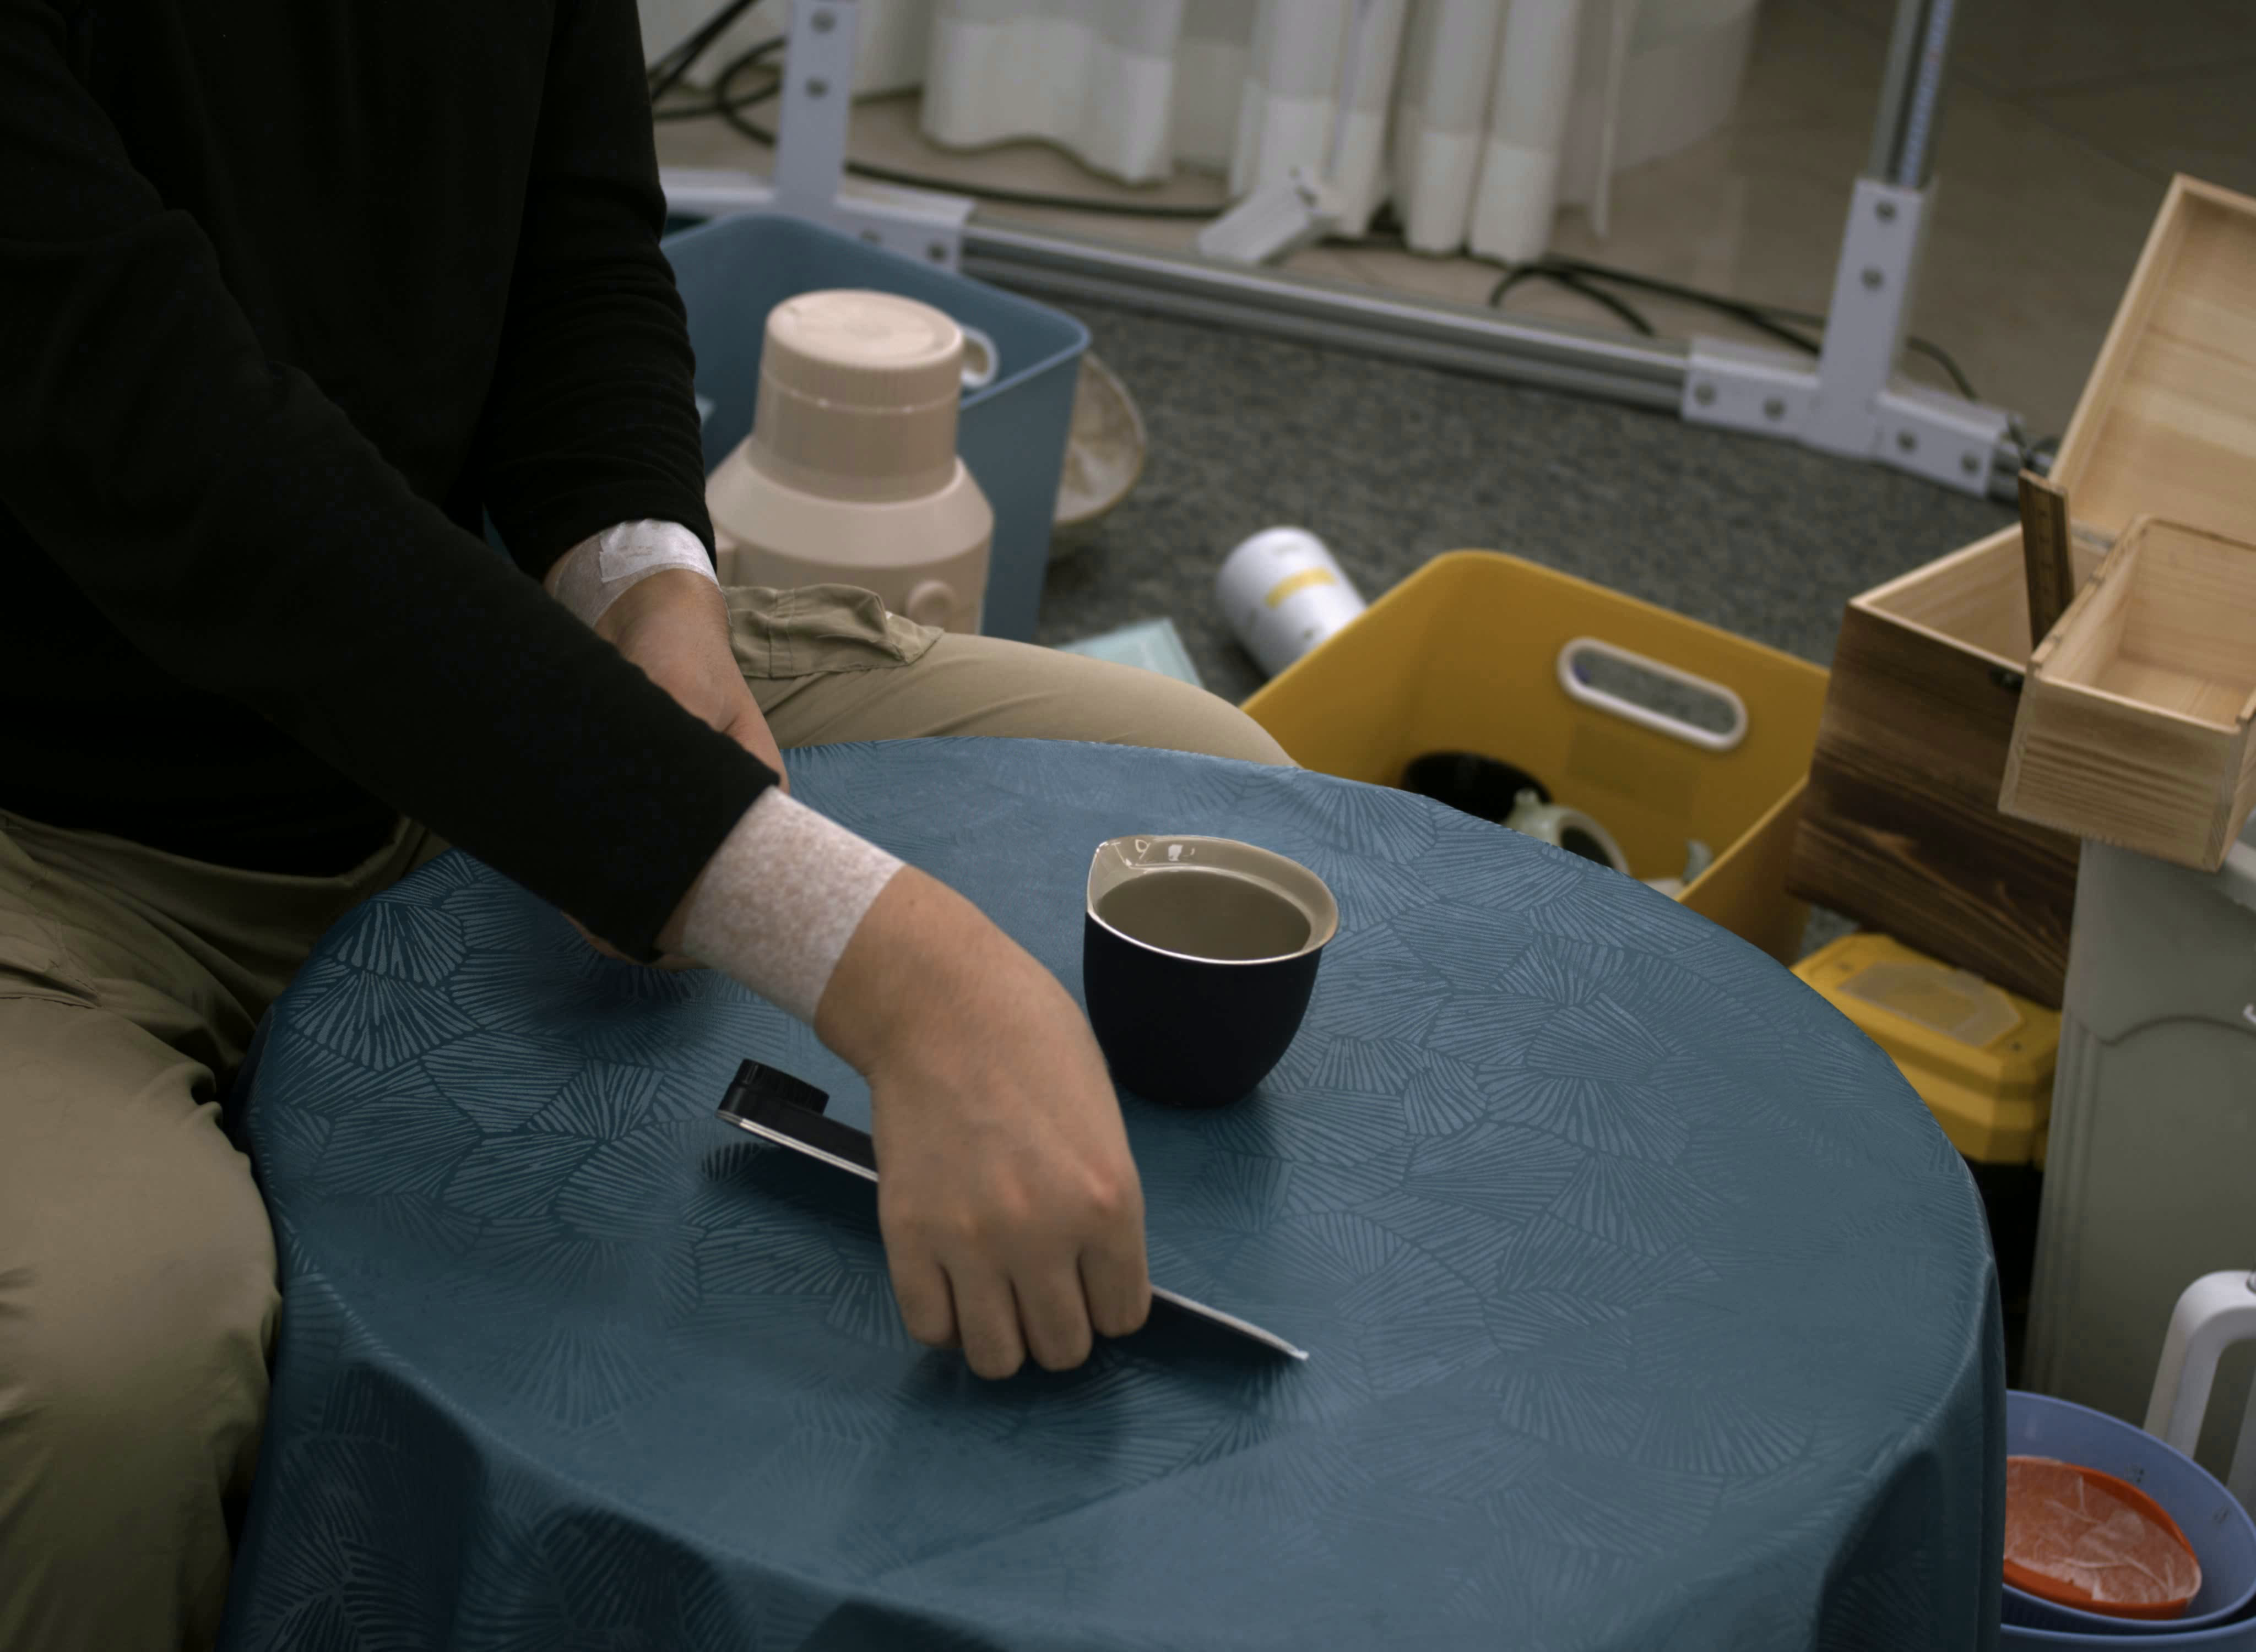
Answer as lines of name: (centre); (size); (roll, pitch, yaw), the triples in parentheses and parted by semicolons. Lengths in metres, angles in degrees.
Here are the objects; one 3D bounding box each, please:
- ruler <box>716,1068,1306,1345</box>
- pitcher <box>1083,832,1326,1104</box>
ruler: (-0.040, 0.124, 1.749); (0.219, 0.024, 0.038); (19, 0, 25)
pitcher: (0.021, 0.053, 1.865); (0.083, 0.071, 0.097); (-17, 36, -37)
